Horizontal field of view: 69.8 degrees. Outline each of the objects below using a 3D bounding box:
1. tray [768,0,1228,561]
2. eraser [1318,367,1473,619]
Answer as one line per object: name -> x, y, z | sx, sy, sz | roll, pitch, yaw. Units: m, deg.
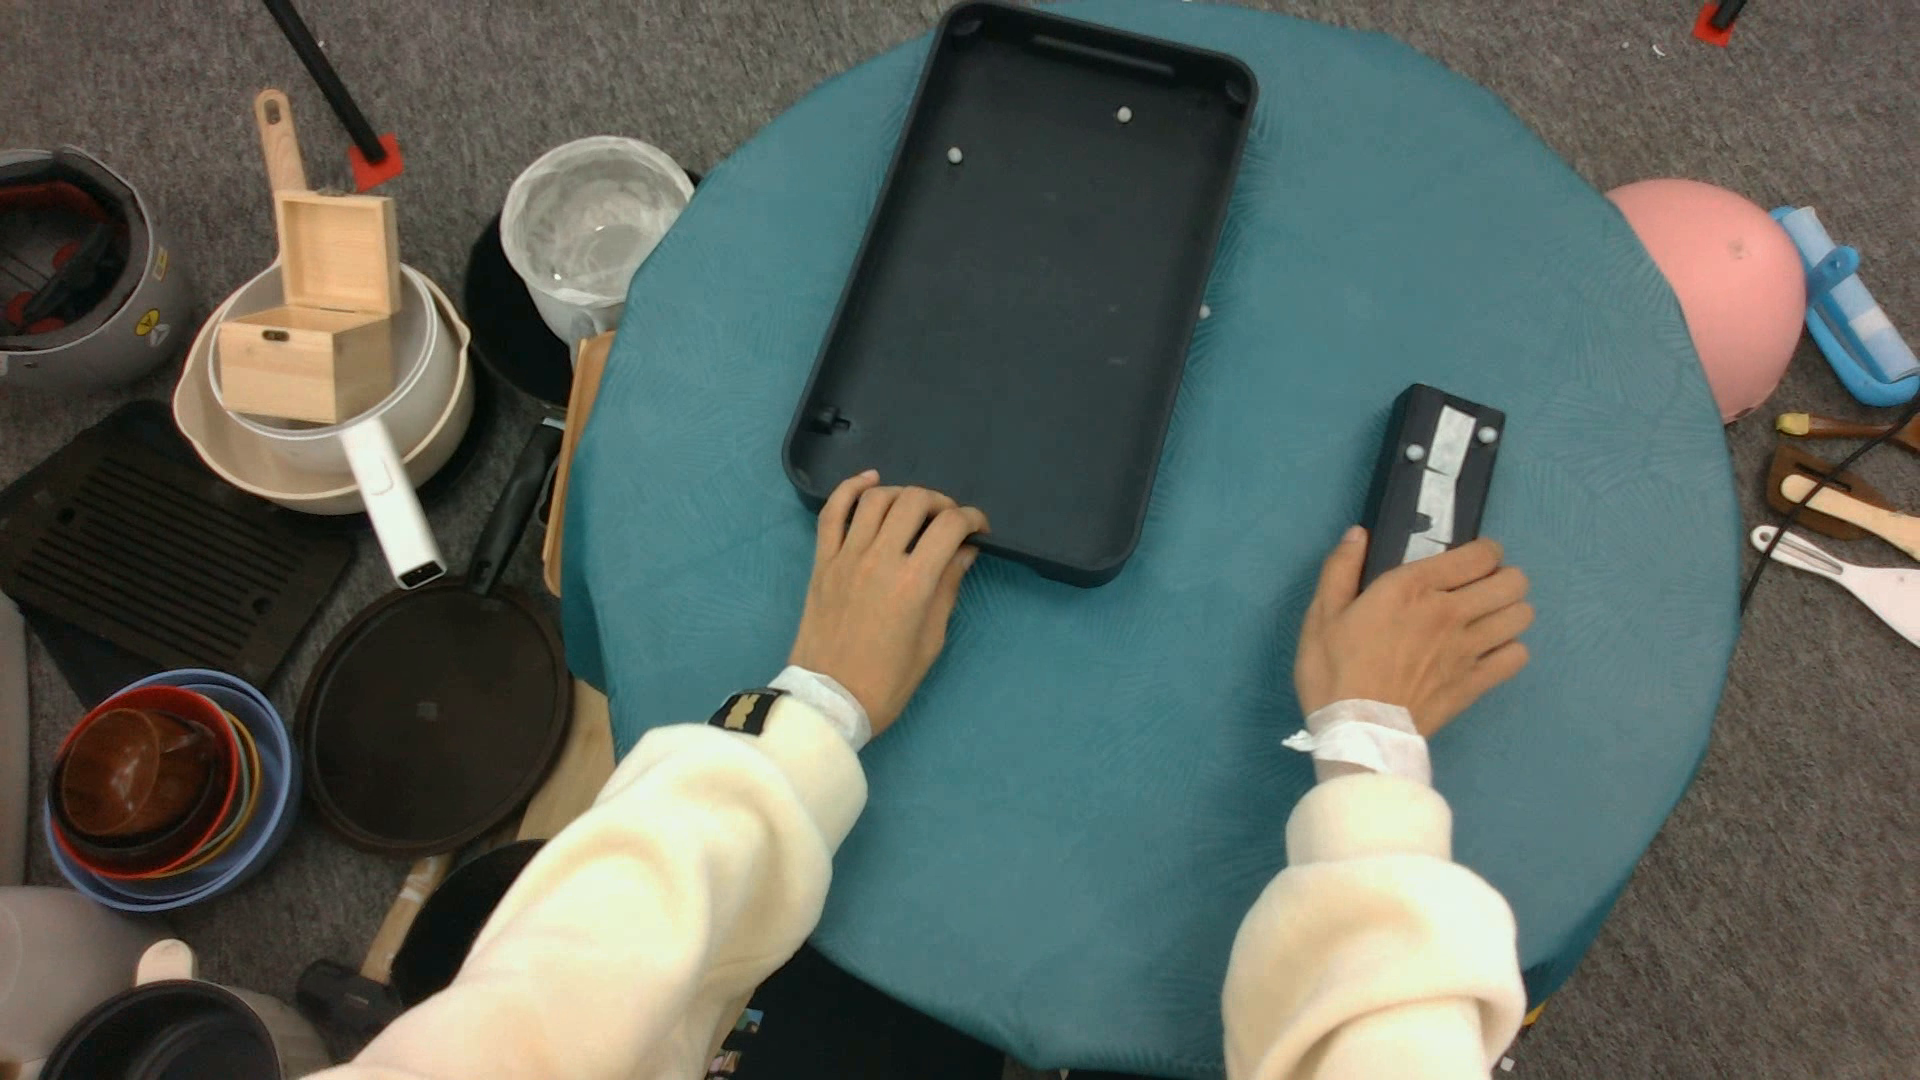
tray -> 0.027, -0.153, 0.738 | 0.184, 0.037, 0.319 | 13, 70, 4
eraser -> 0.219, -0.025, 0.693 | 0.053, 0.030, 0.126 | 18, 67, 4
